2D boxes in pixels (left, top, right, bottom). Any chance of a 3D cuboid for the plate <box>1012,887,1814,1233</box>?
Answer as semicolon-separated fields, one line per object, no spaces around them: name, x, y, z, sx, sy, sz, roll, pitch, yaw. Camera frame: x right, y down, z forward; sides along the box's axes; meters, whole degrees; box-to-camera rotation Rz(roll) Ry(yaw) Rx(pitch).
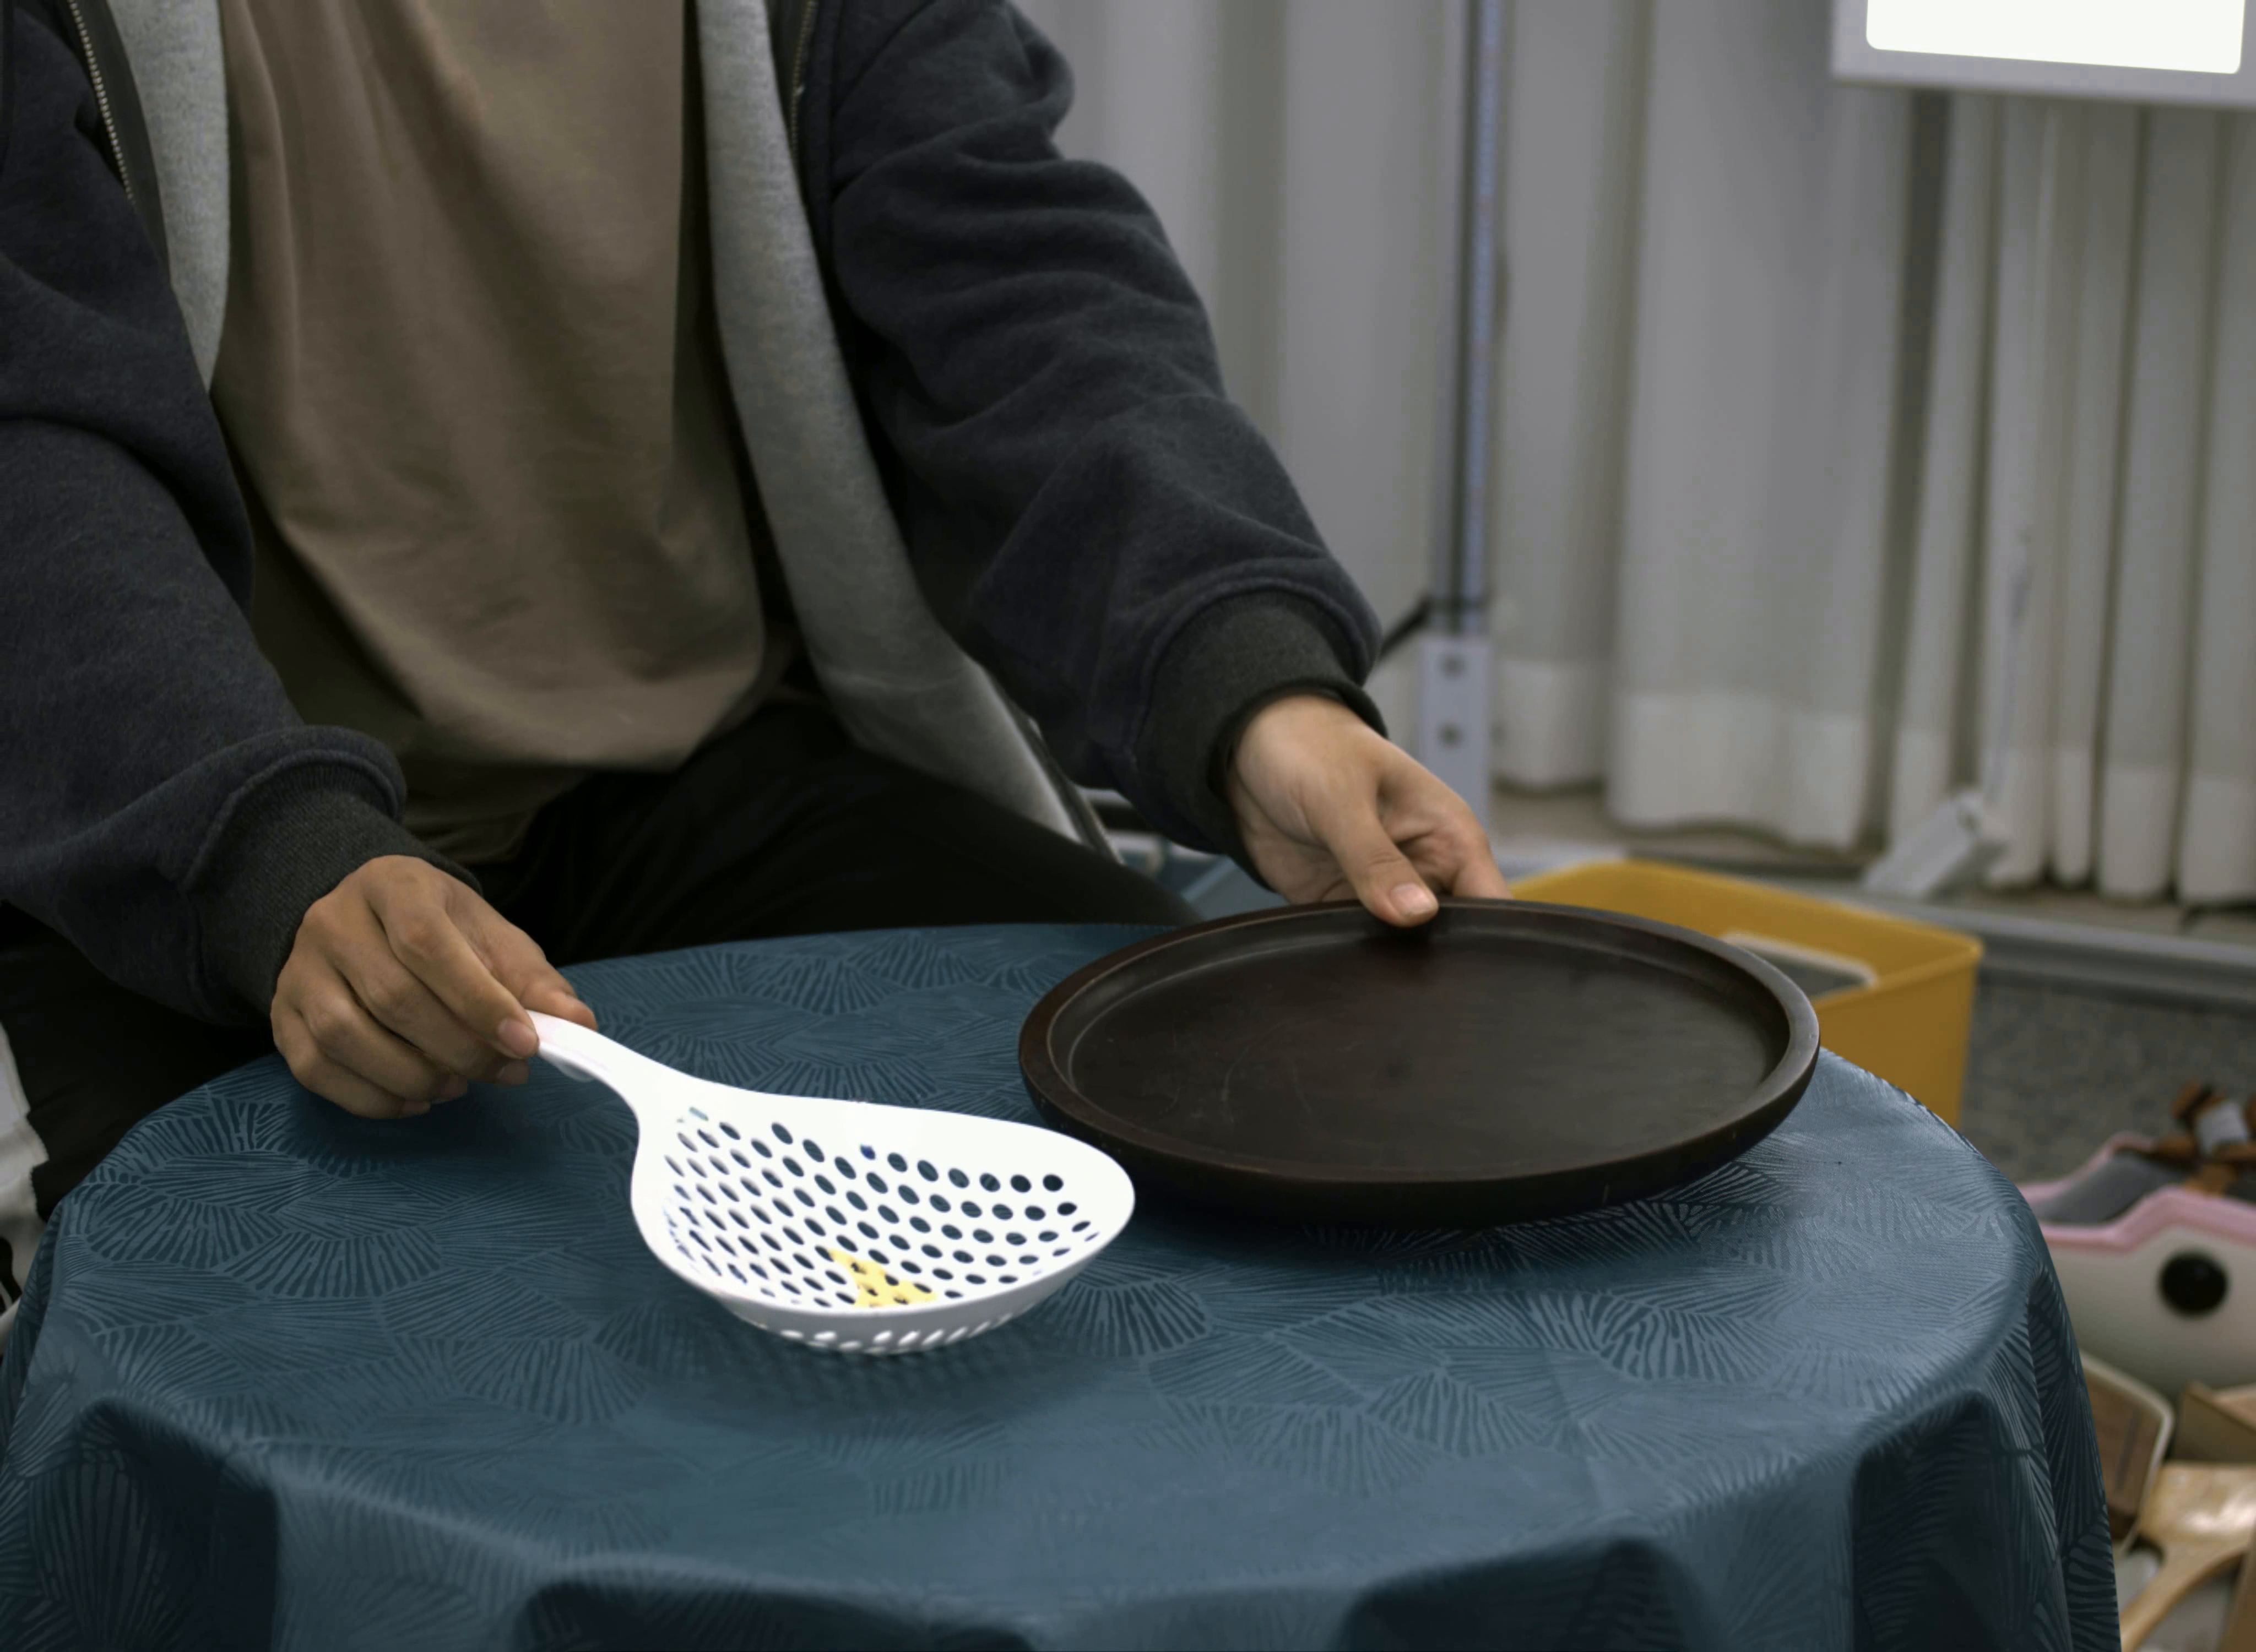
plate;0.090;0.072;1.661;0.254;0.029;0.253;-2;19;1

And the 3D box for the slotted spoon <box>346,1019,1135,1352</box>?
slotted spoon;-0.135;0.093;1.579;0.137;0.051;0.343;-21;30;-34
